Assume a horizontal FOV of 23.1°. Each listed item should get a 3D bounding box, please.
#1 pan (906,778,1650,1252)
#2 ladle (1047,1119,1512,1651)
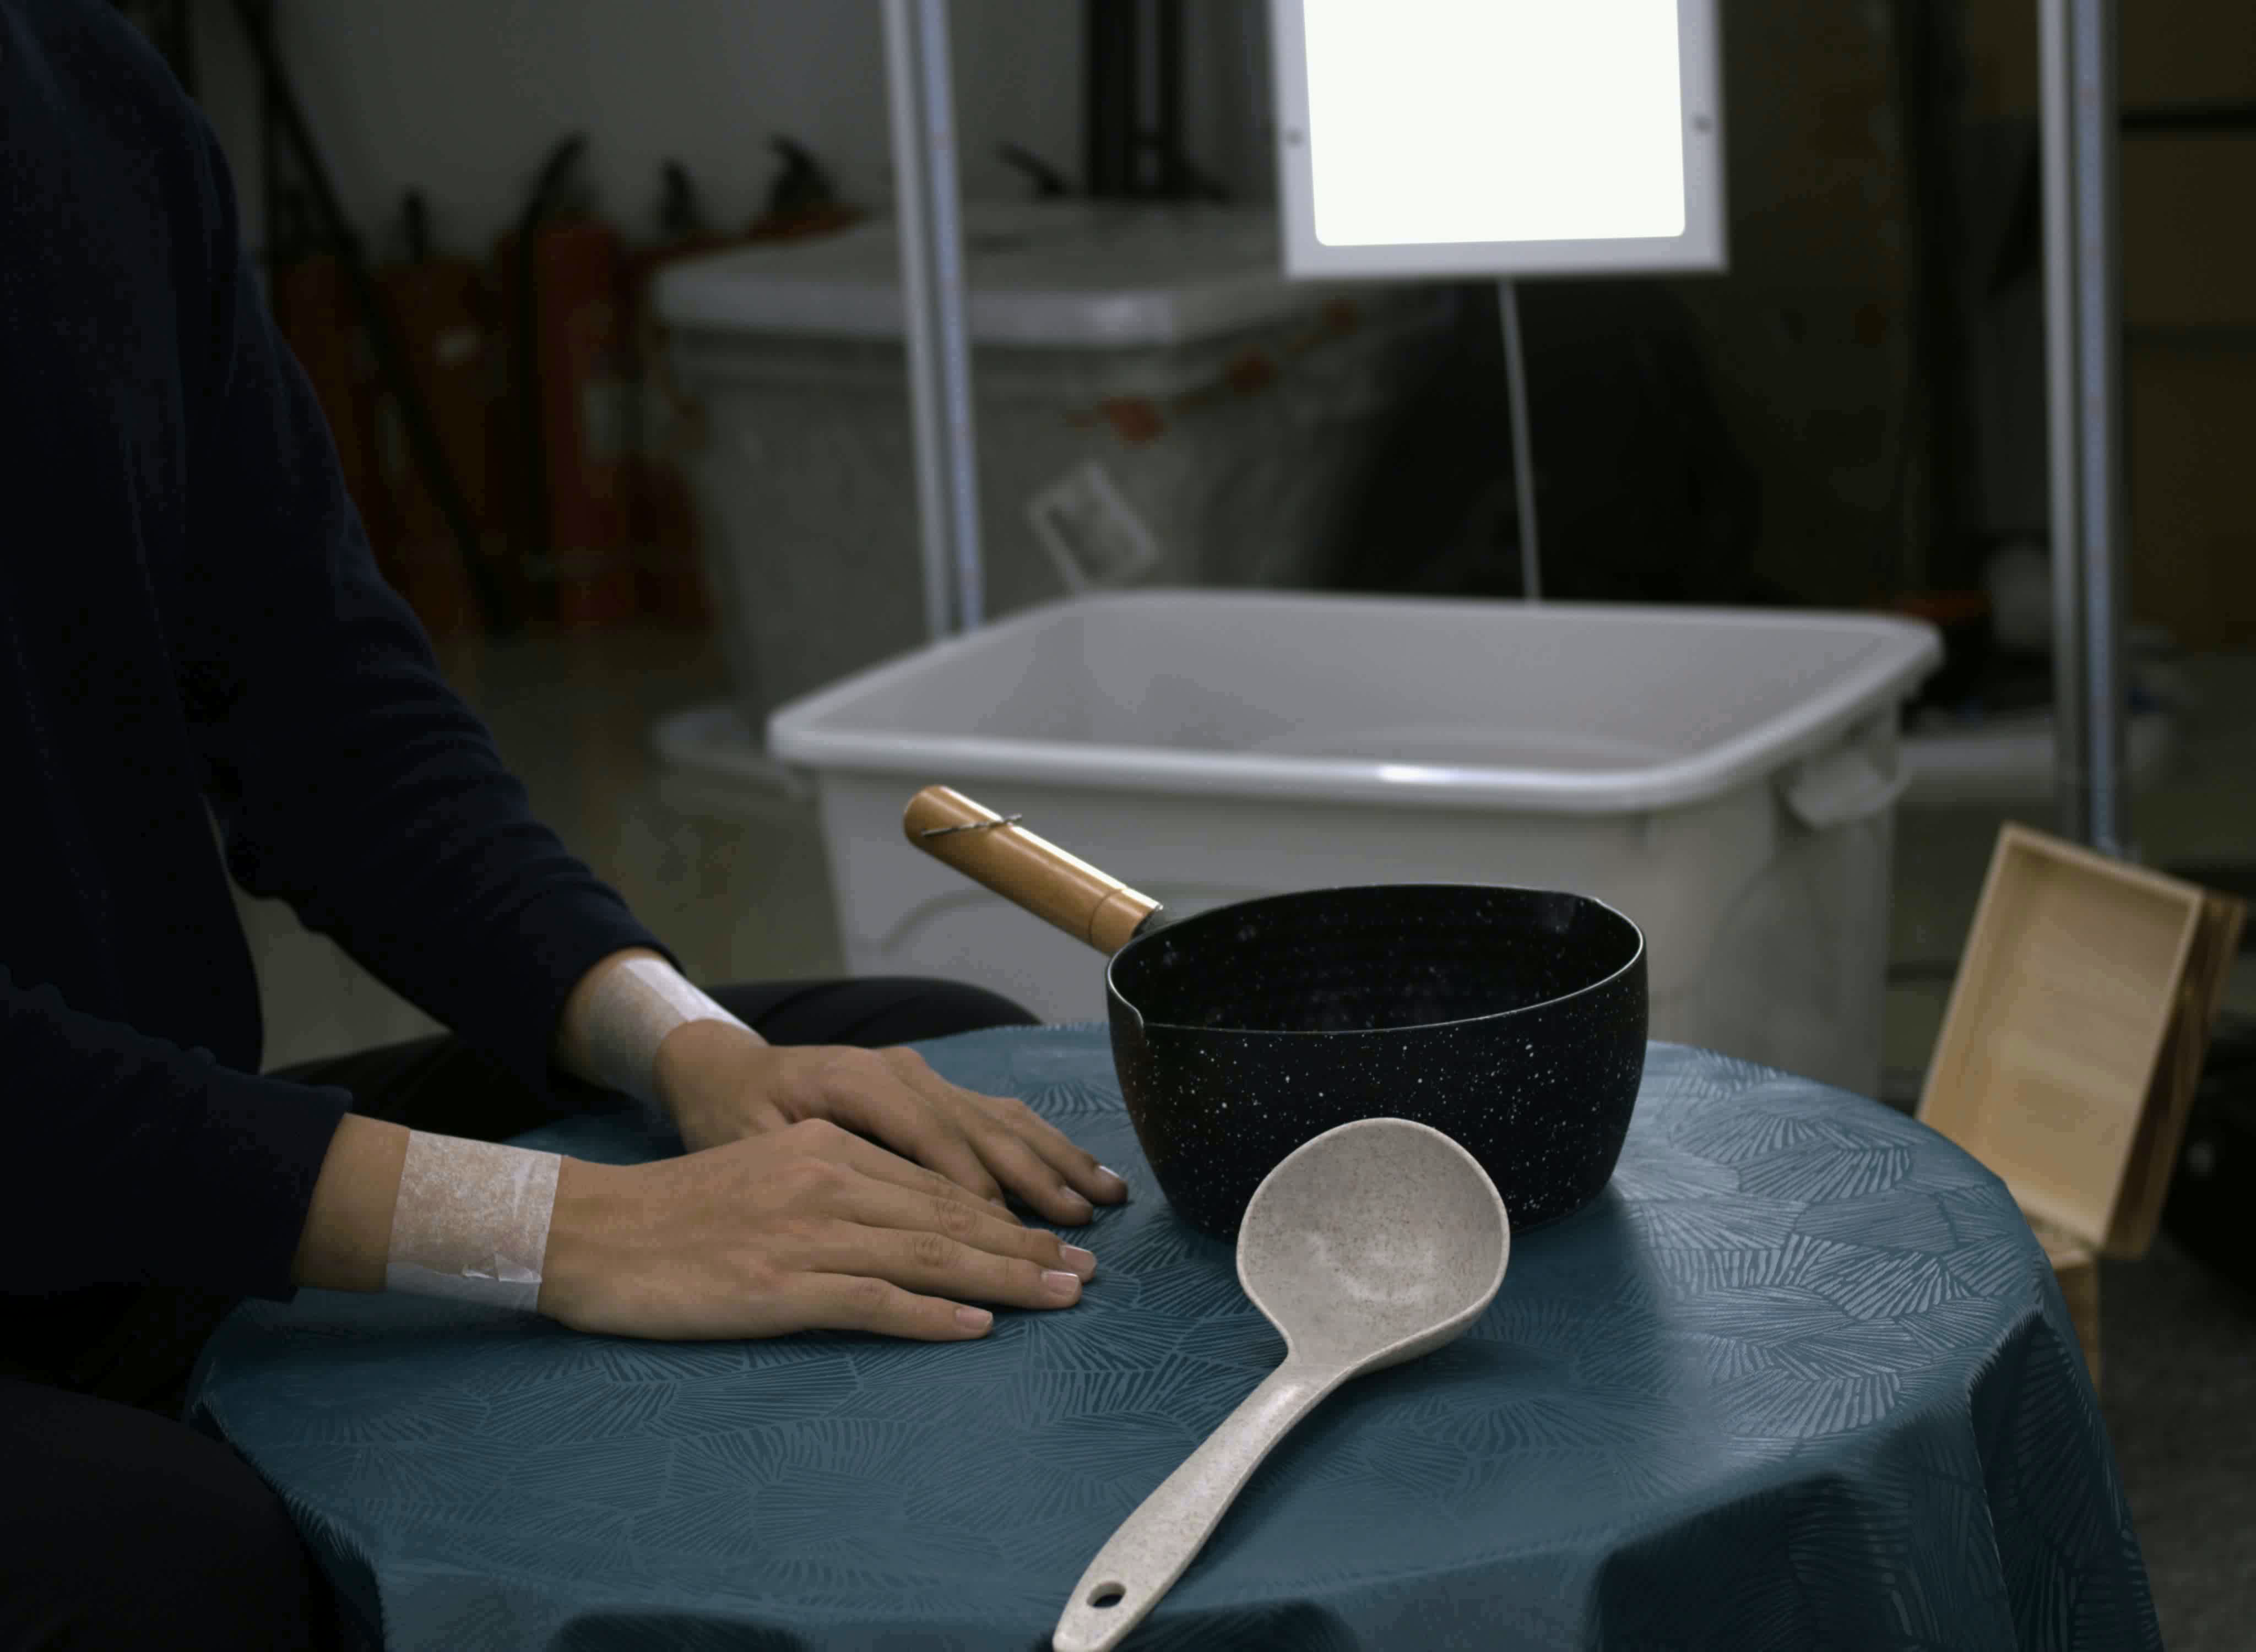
[{"bbox_3d":[0.034,0.061,1.924,0.202,0.108,0.350,-17,19,-37],"label":"pan"},{"bbox_3d":[0.036,0.160,1.614,0.090,0.070,0.269,8,19,22],"label":"ladle"}]
